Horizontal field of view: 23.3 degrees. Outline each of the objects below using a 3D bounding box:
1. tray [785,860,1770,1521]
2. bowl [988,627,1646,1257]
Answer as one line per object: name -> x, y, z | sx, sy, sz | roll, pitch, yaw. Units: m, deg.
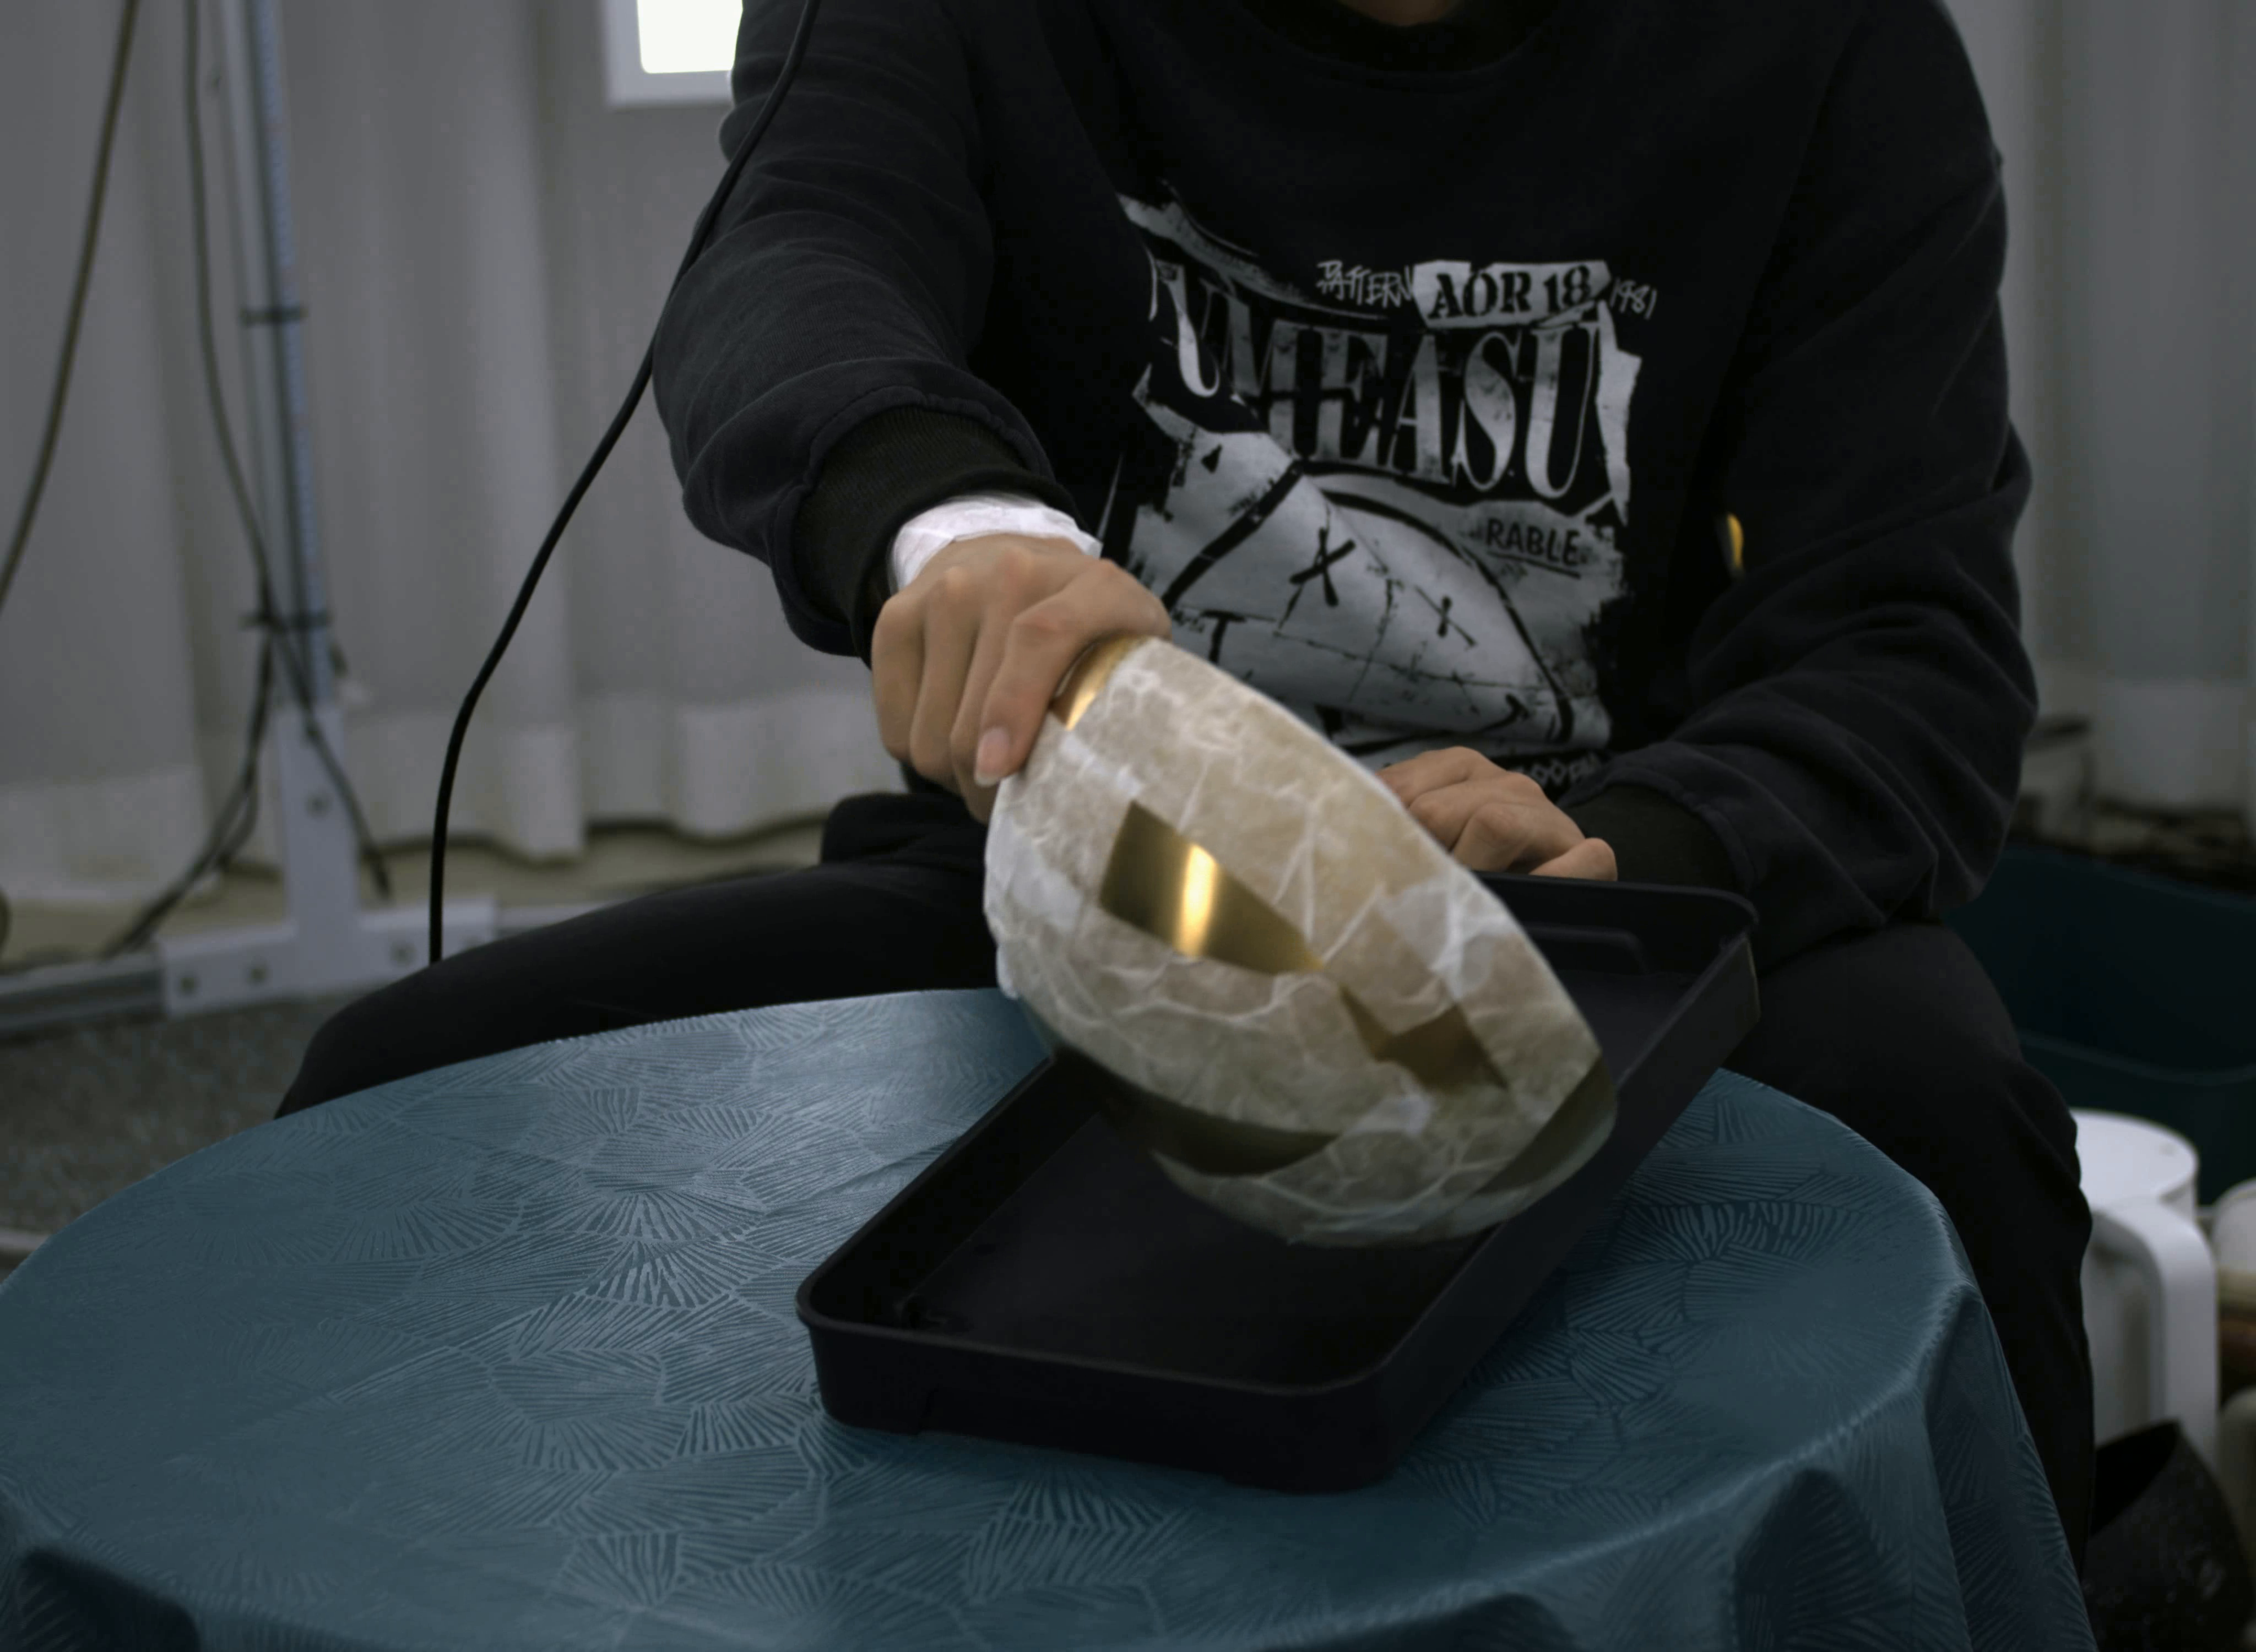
tray -> 0.052, 0.097, 1.614 | 0.185, 0.037, 0.319 | 7, 29, 29
bowl -> 0.032, 0.052, 1.505 | 0.095, 0.212, 0.216 | -46, 30, -13
